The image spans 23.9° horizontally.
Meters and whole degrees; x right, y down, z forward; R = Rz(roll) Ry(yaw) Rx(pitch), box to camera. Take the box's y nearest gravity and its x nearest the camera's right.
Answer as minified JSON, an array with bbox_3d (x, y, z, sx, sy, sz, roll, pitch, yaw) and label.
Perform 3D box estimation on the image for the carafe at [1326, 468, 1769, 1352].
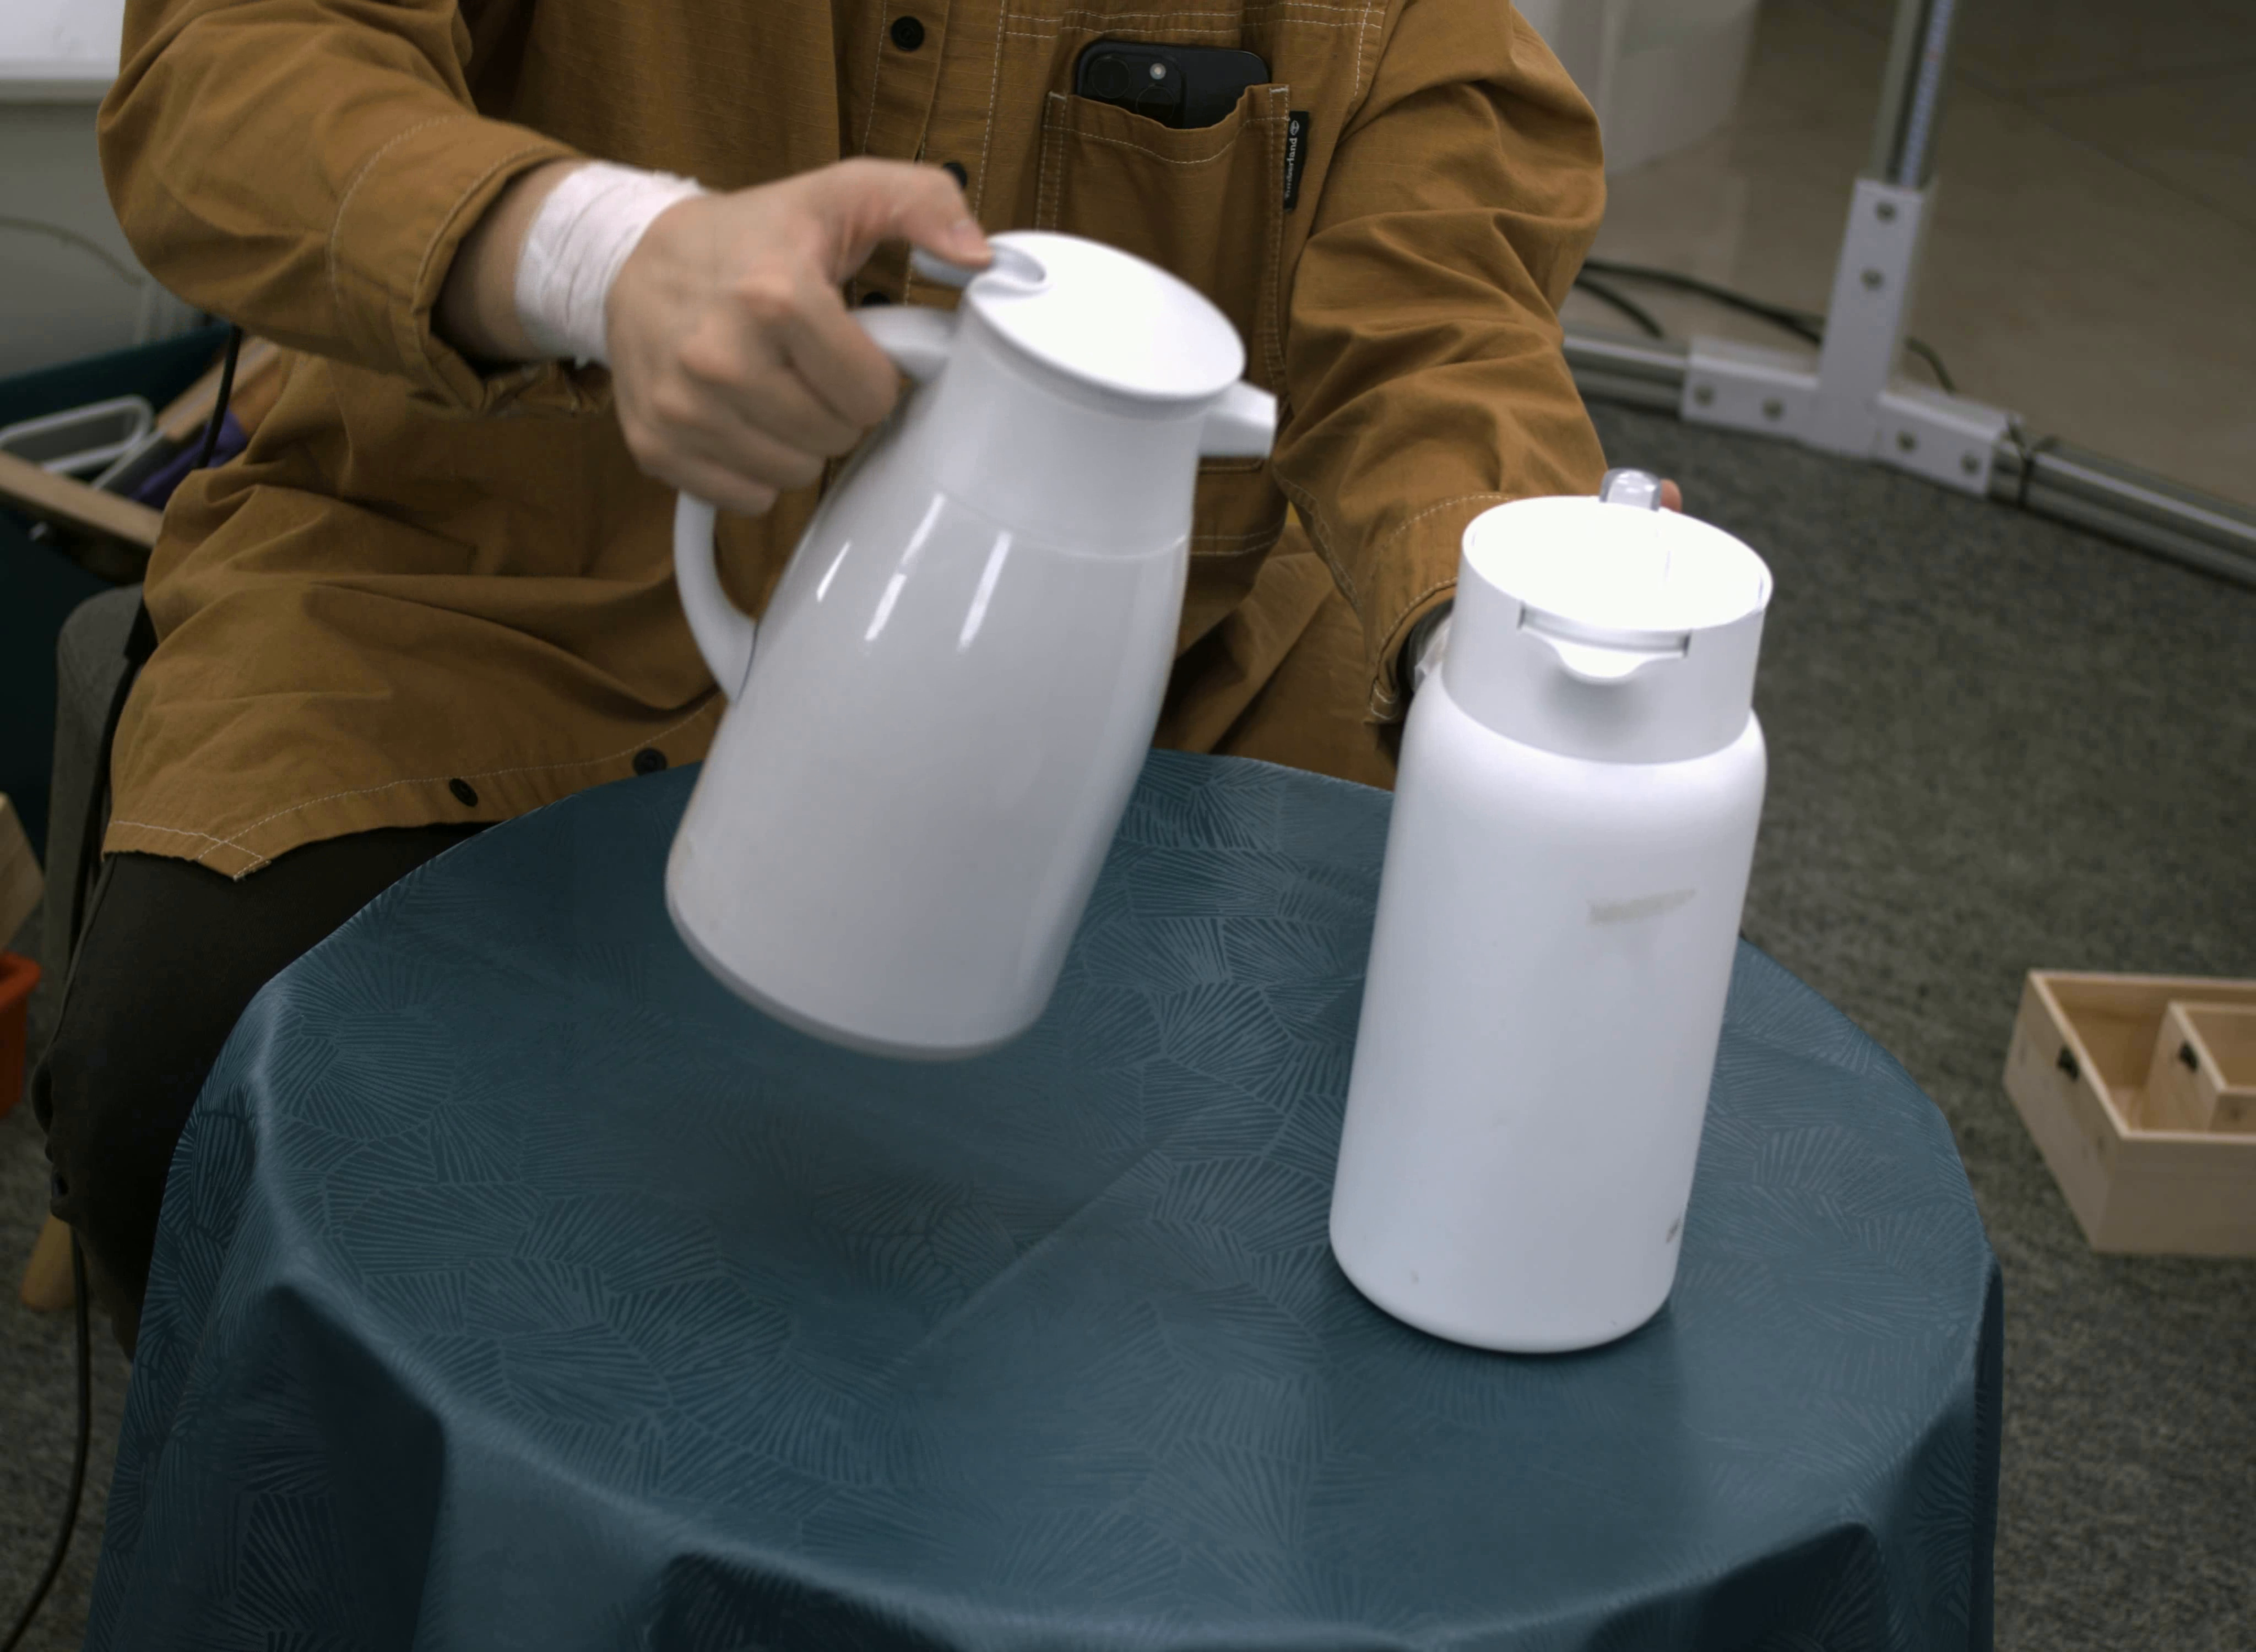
[{"bbox_3d":[0.139,0.023,1.740,0.123,0.268,0.173,7,26,6],"label":"carafe"}]

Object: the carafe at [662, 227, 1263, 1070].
[{"bbox_3d":[-0.067,-0.066,1.662,0.167,0.248,0.133,16,29,-8],"label":"carafe"}]
